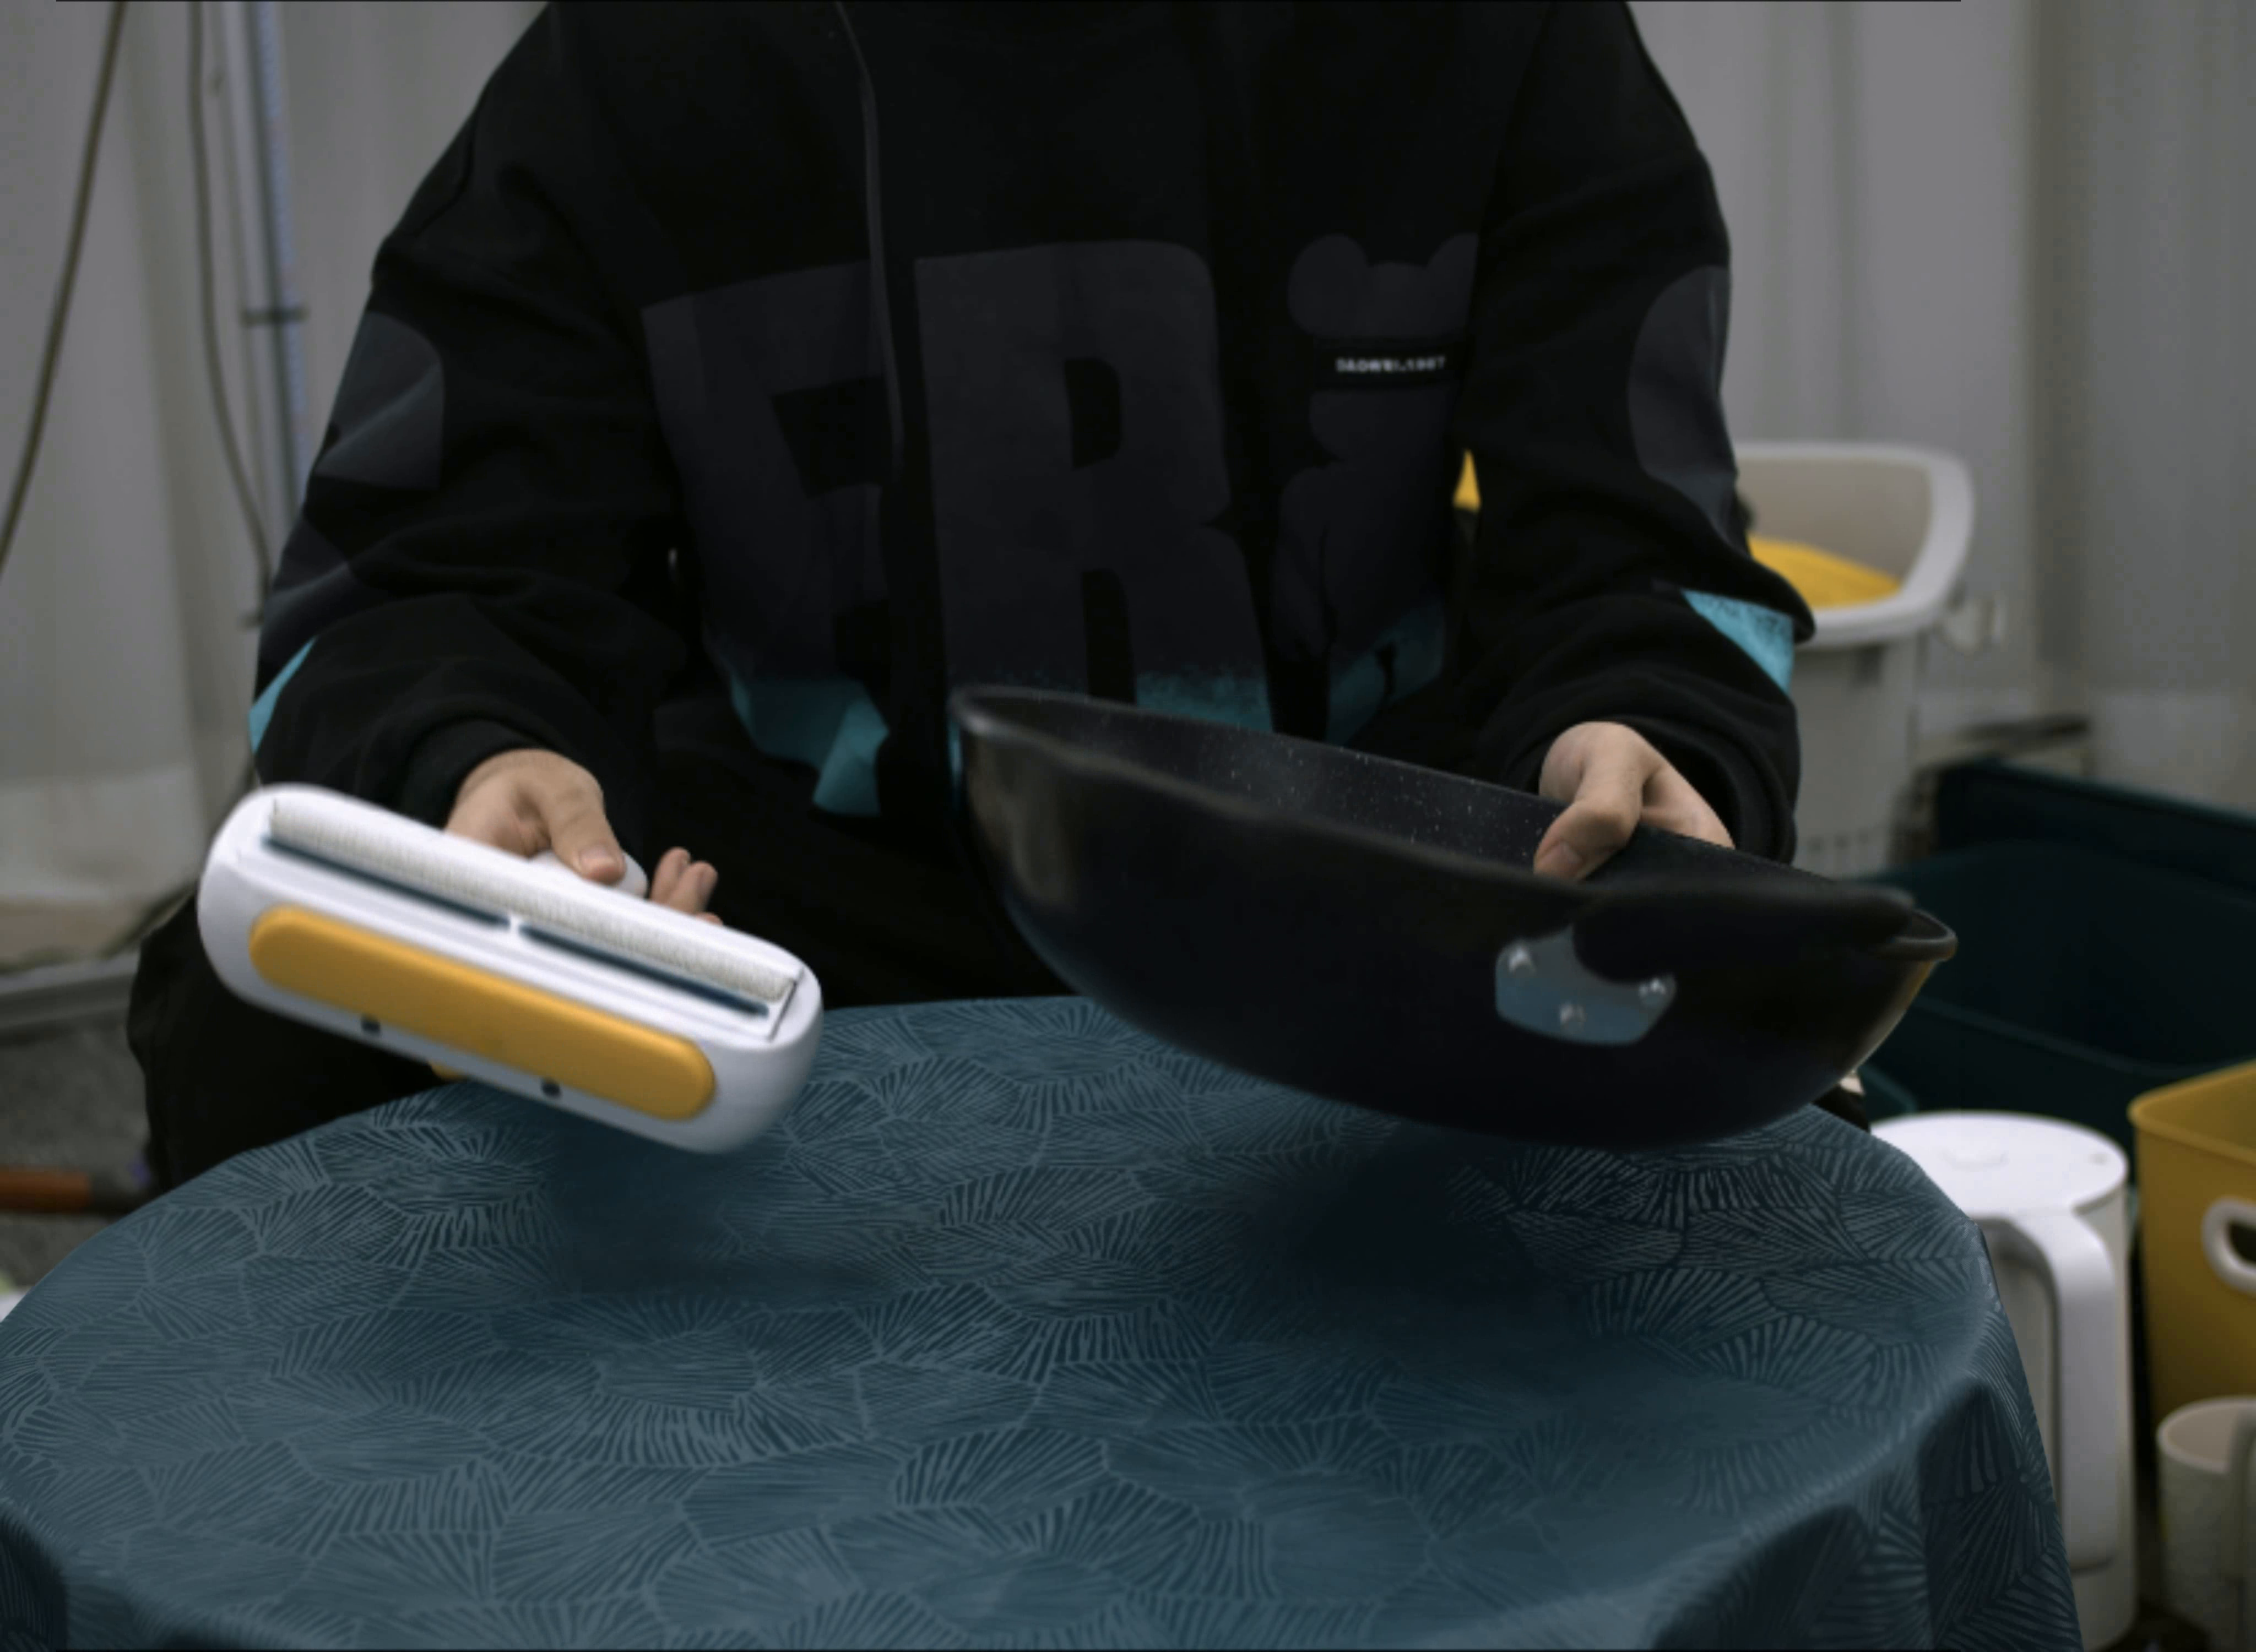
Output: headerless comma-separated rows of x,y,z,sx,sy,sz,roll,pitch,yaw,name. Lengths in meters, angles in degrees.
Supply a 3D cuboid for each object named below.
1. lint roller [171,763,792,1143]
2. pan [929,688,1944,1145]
-0.185,0.027,1.706,0.193,0.074,0.193,17,20,7,lint roller
0.107,0.034,1.556,0.308,0.112,0.479,11,5,-16,pan
